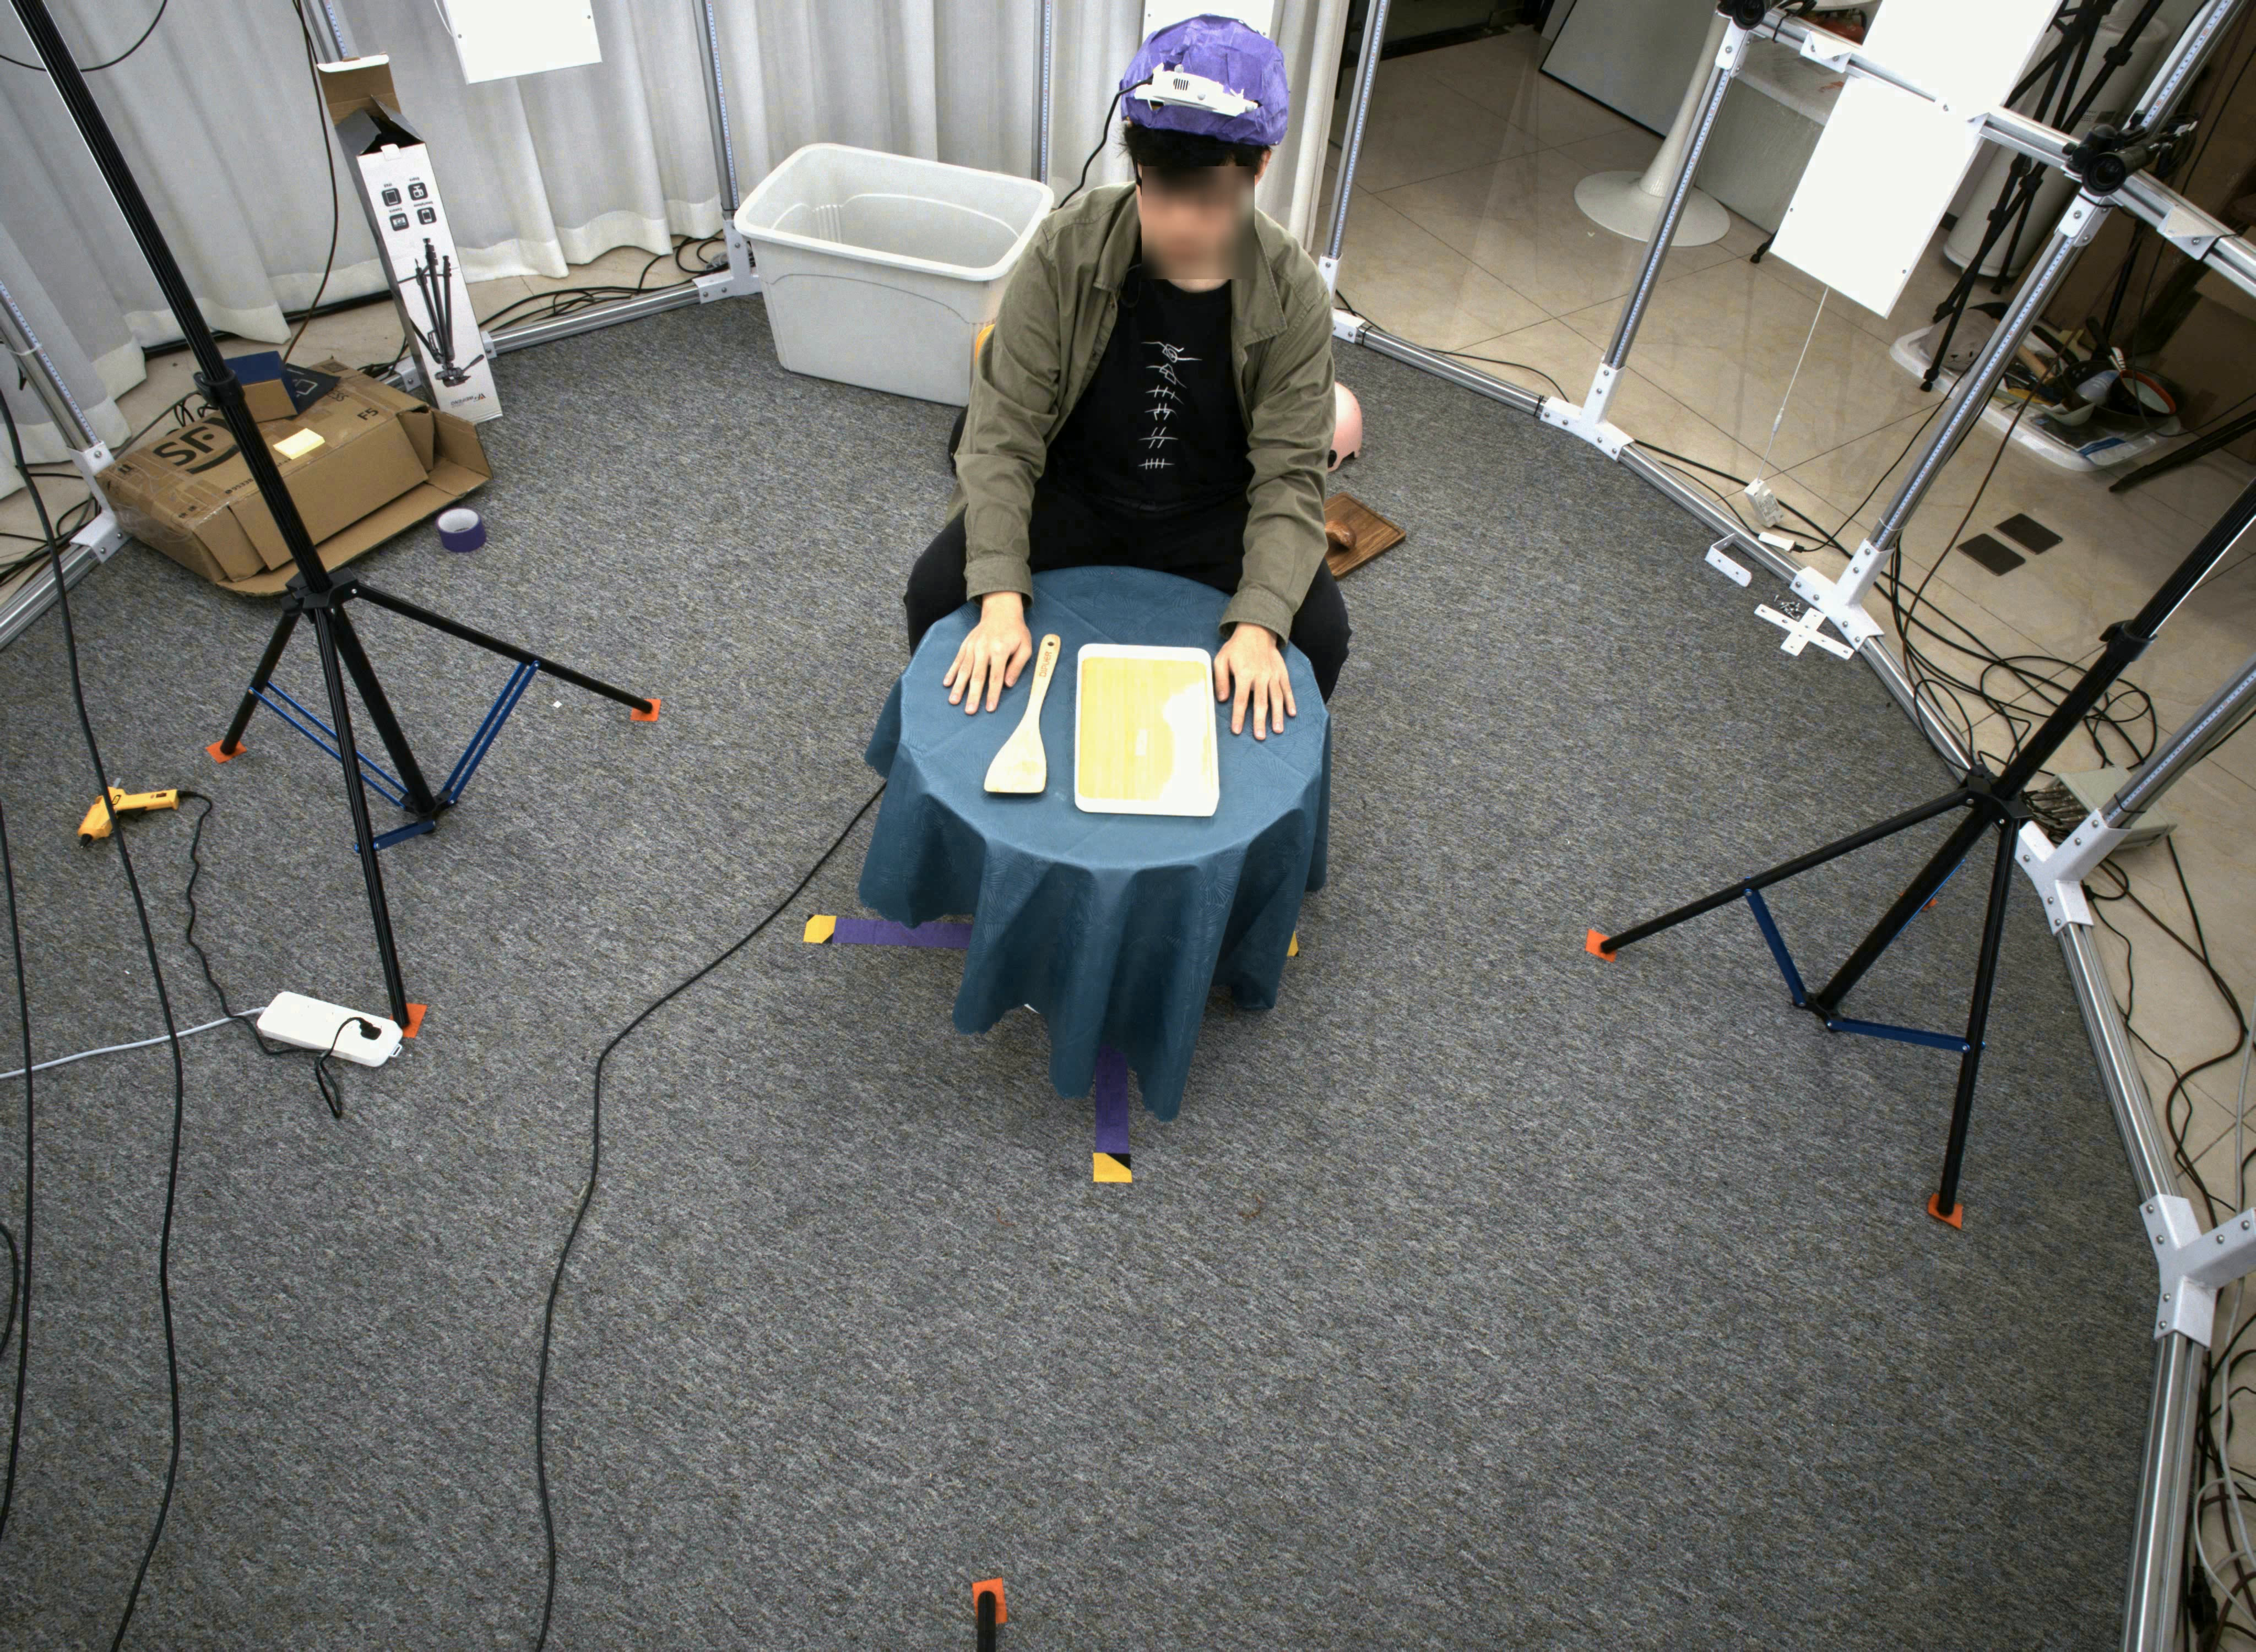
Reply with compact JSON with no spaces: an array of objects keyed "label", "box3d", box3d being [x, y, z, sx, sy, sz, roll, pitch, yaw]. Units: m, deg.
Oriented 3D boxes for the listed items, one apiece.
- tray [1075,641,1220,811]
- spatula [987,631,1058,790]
[{"label":"tray","box3d":[0.024,-0.143,1.766,0.191,0.027,0.308,3,47,-3]},{"label":"spatula","box3d":[-0.130,-0.165,1.780,0.080,0.016,0.335,7,49,1]}]
